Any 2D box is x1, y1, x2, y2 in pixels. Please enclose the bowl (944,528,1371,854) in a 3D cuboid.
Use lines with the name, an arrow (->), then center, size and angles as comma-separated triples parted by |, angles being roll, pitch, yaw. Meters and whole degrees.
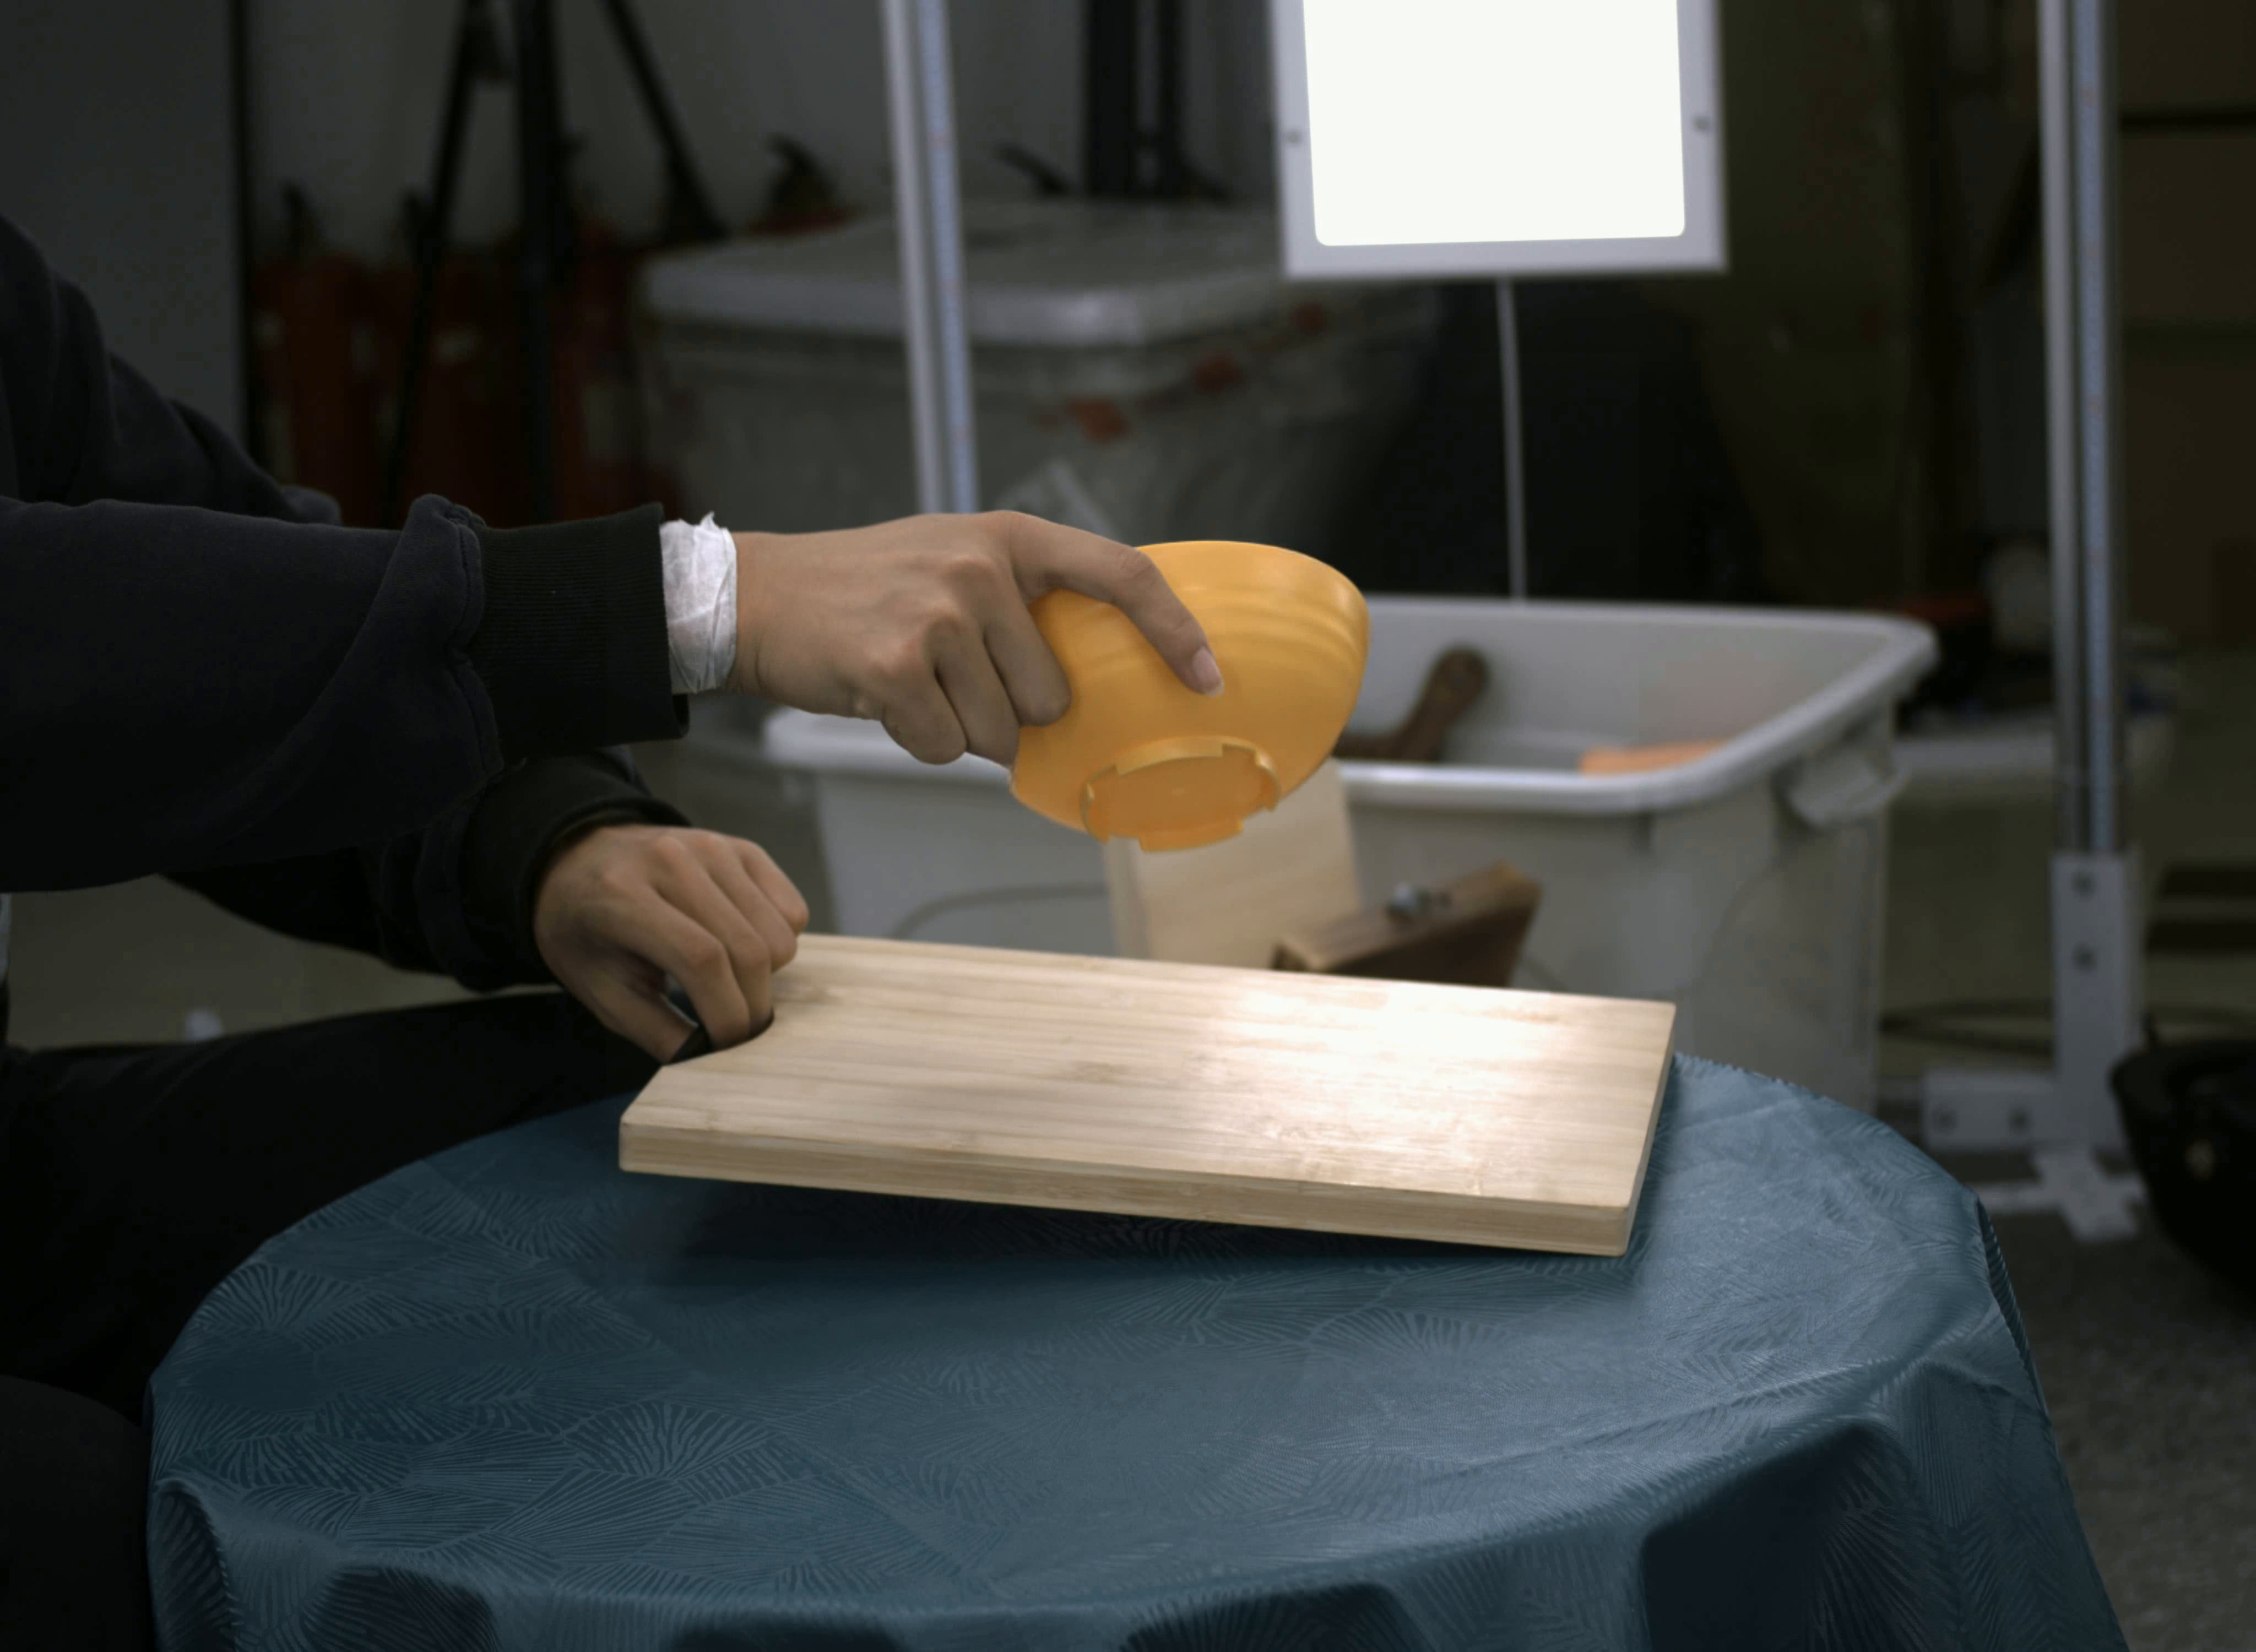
bowl -> 0.014, -0.033, 1.812 | 0.144, 0.060, 0.146 | -5, -31, -4

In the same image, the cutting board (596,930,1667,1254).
cutting board -> 0.009, 0.090, 1.930 | 0.350, 0.024, 0.248 | 4, 15, 9
